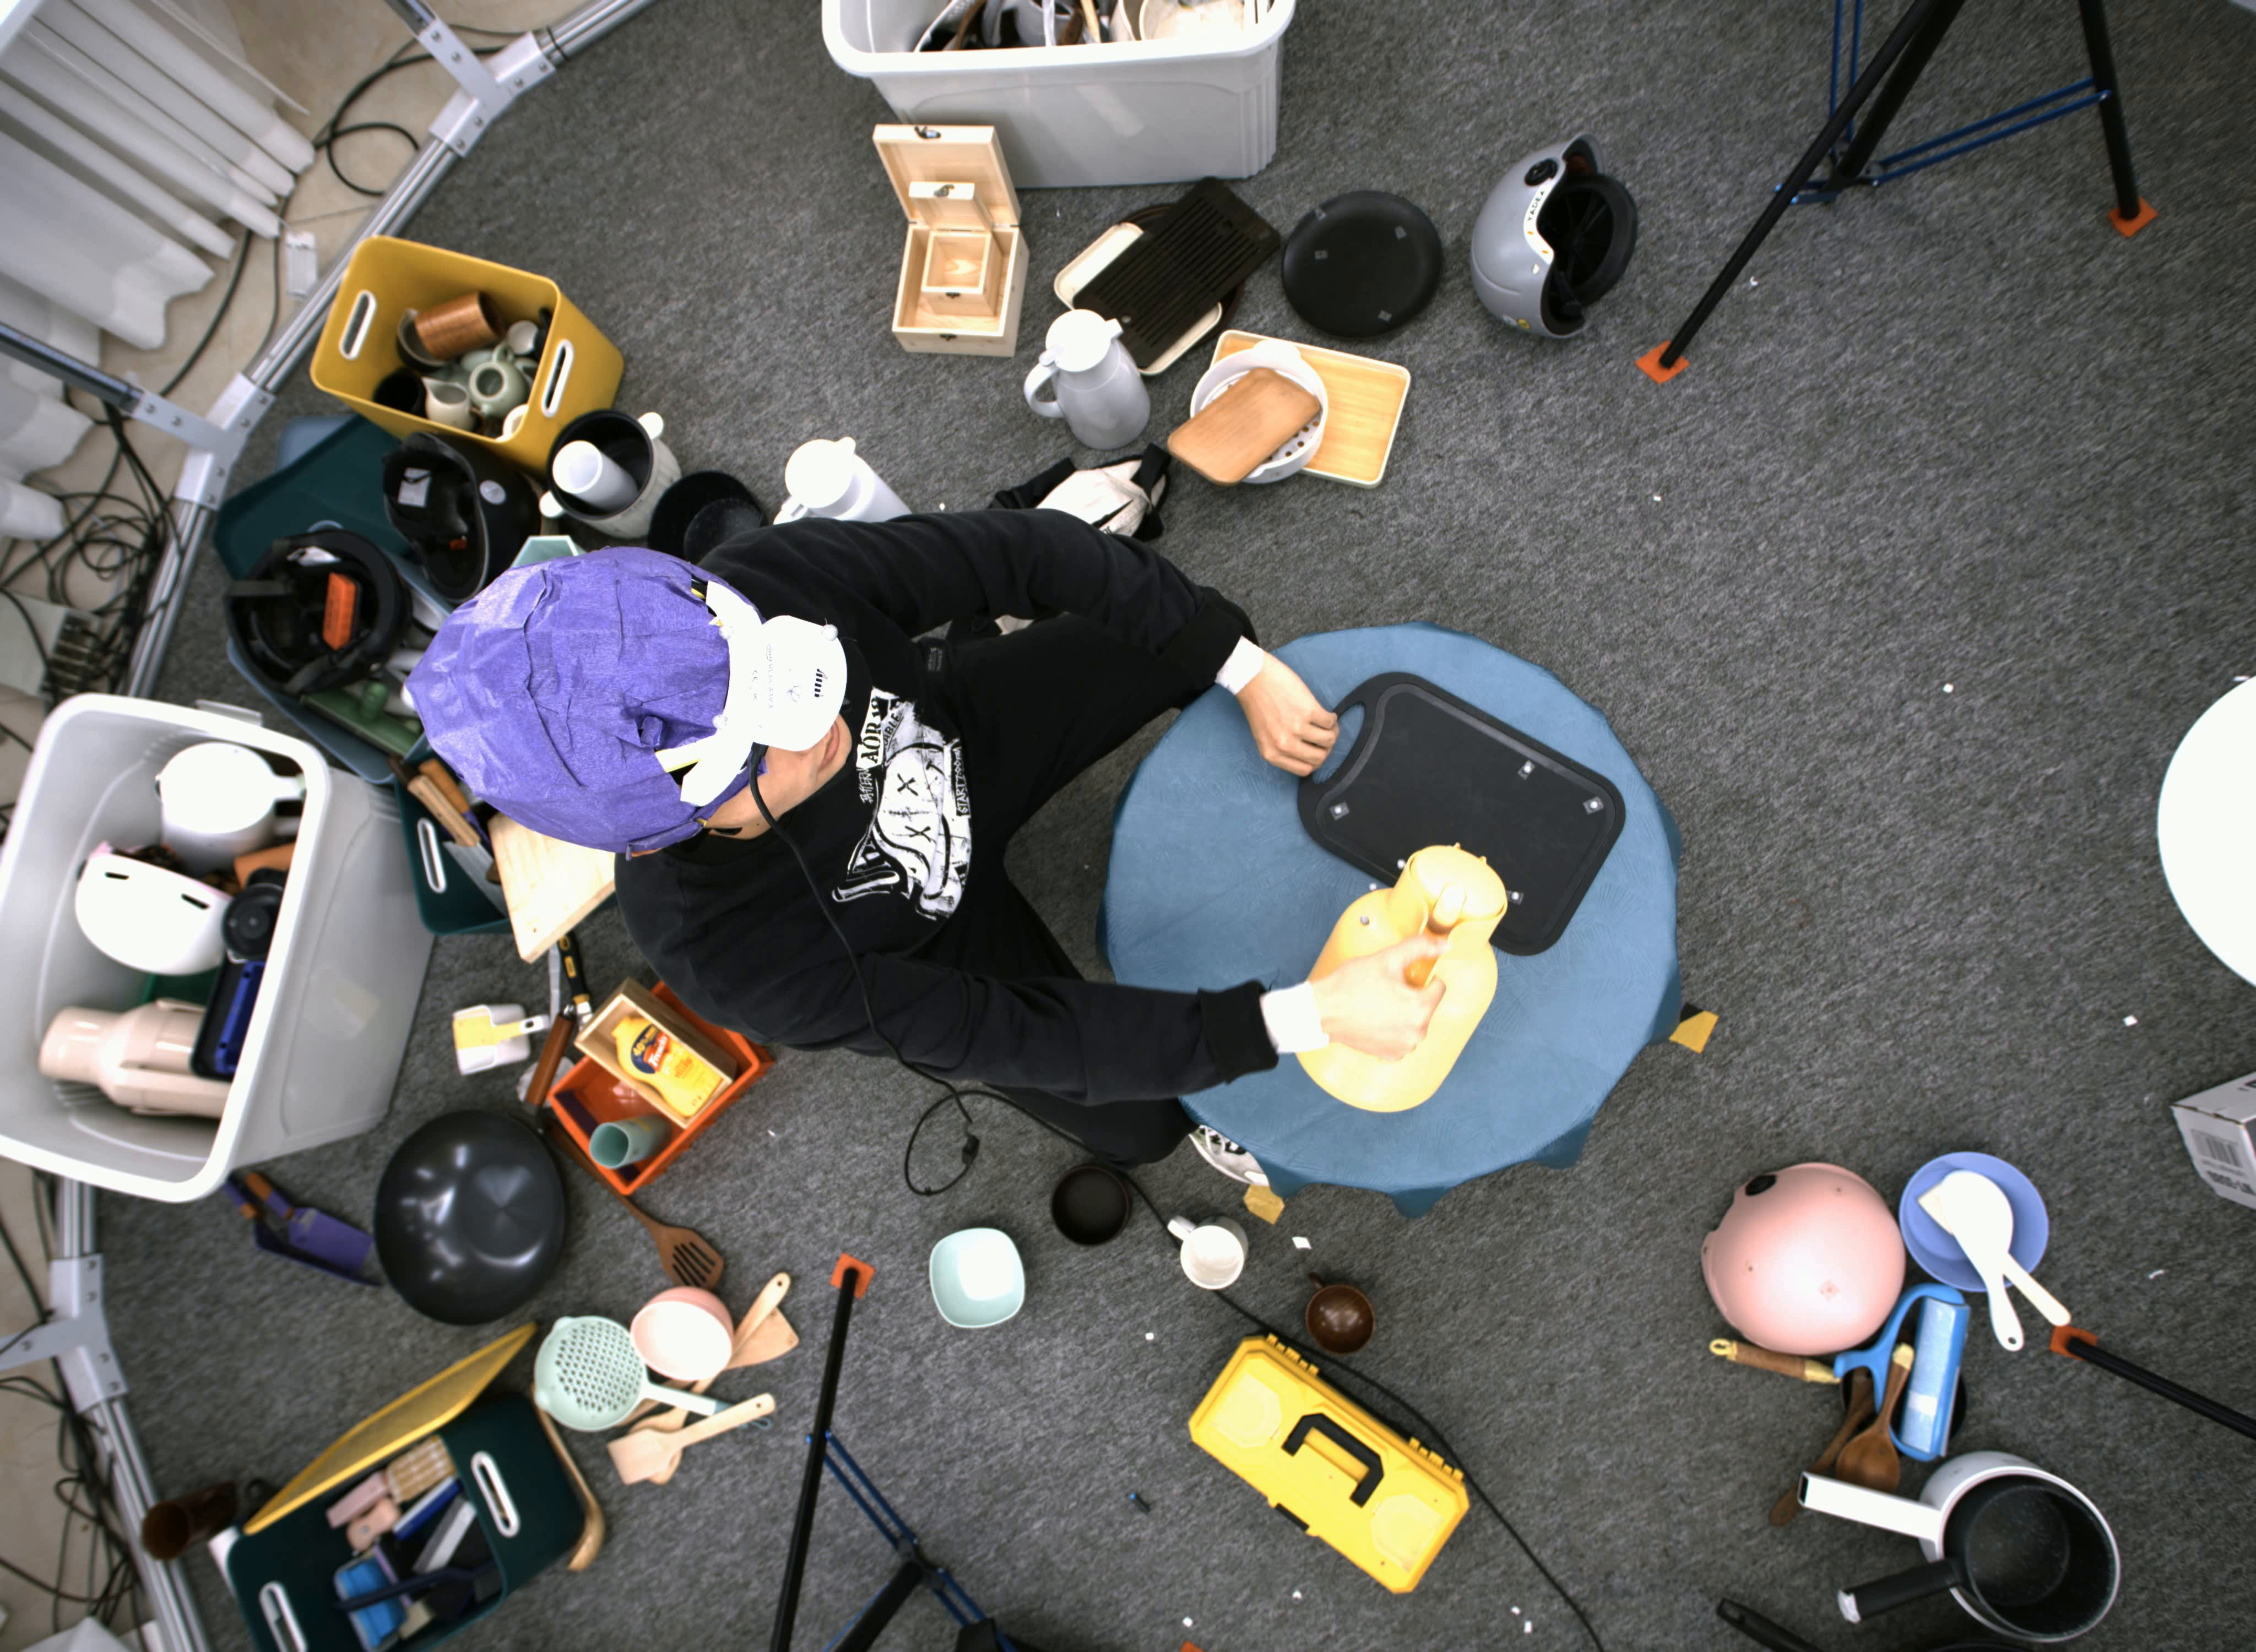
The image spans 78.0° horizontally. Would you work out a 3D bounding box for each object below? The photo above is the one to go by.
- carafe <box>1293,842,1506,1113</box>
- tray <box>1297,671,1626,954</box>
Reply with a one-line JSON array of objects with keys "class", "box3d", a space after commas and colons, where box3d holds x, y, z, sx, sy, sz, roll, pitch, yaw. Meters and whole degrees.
[{"class": "carafe", "box3d": [0.256, 0.145, 1.295, 0.163, 0.198, 0.267, 27, 126, 14]}, {"class": "tray", "box3d": [0.341, -0.022, 1.445, 0.325, 0.010, 0.211, 31, 93, 9]}]
